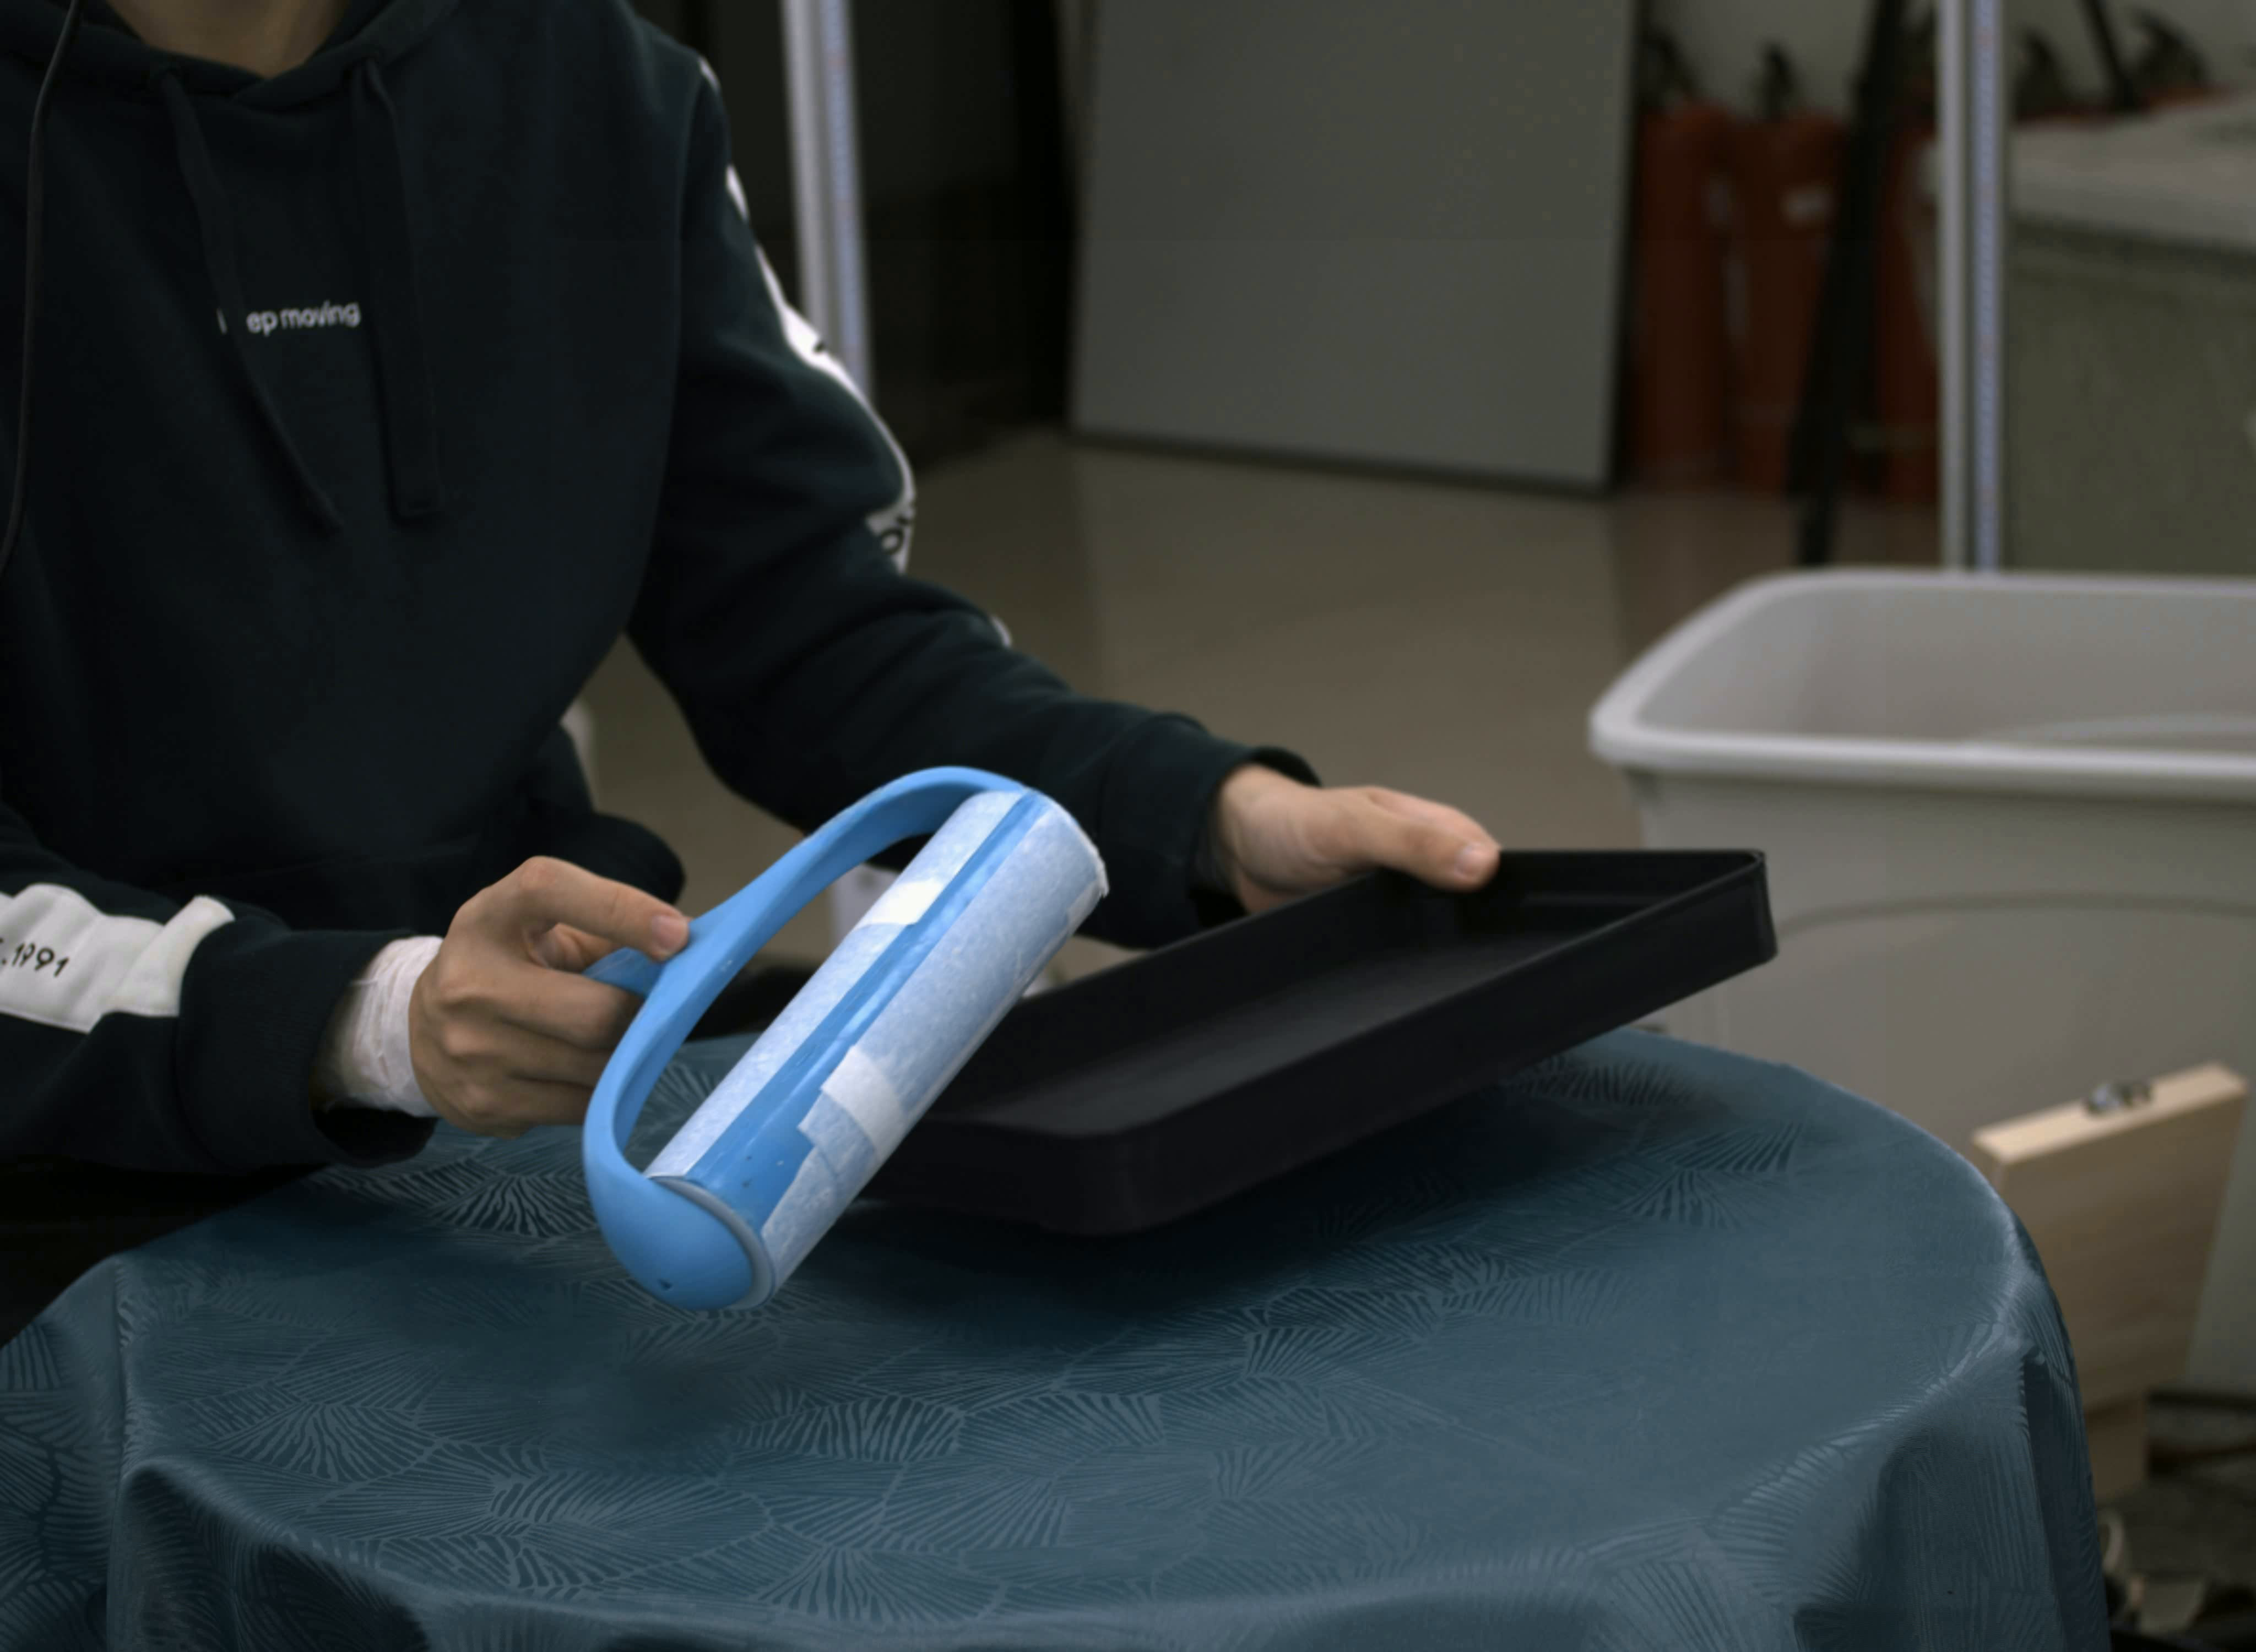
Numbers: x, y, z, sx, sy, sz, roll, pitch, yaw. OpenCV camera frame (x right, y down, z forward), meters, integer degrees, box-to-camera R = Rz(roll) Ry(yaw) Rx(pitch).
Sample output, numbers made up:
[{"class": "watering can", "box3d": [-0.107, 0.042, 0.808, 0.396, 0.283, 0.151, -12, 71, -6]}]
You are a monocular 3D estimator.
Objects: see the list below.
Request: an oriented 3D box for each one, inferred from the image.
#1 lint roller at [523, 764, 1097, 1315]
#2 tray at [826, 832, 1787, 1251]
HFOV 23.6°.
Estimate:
[{"class": "lint roller", "box3d": [-0.127, 0.064, 1.672, 0.181, 0.068, 0.227, 1, 39, 35]}, {"class": "tray", "box3d": [0.059, 0.067, 1.780, 0.312, 0.037, 0.186, -23, 13, -38]}]
